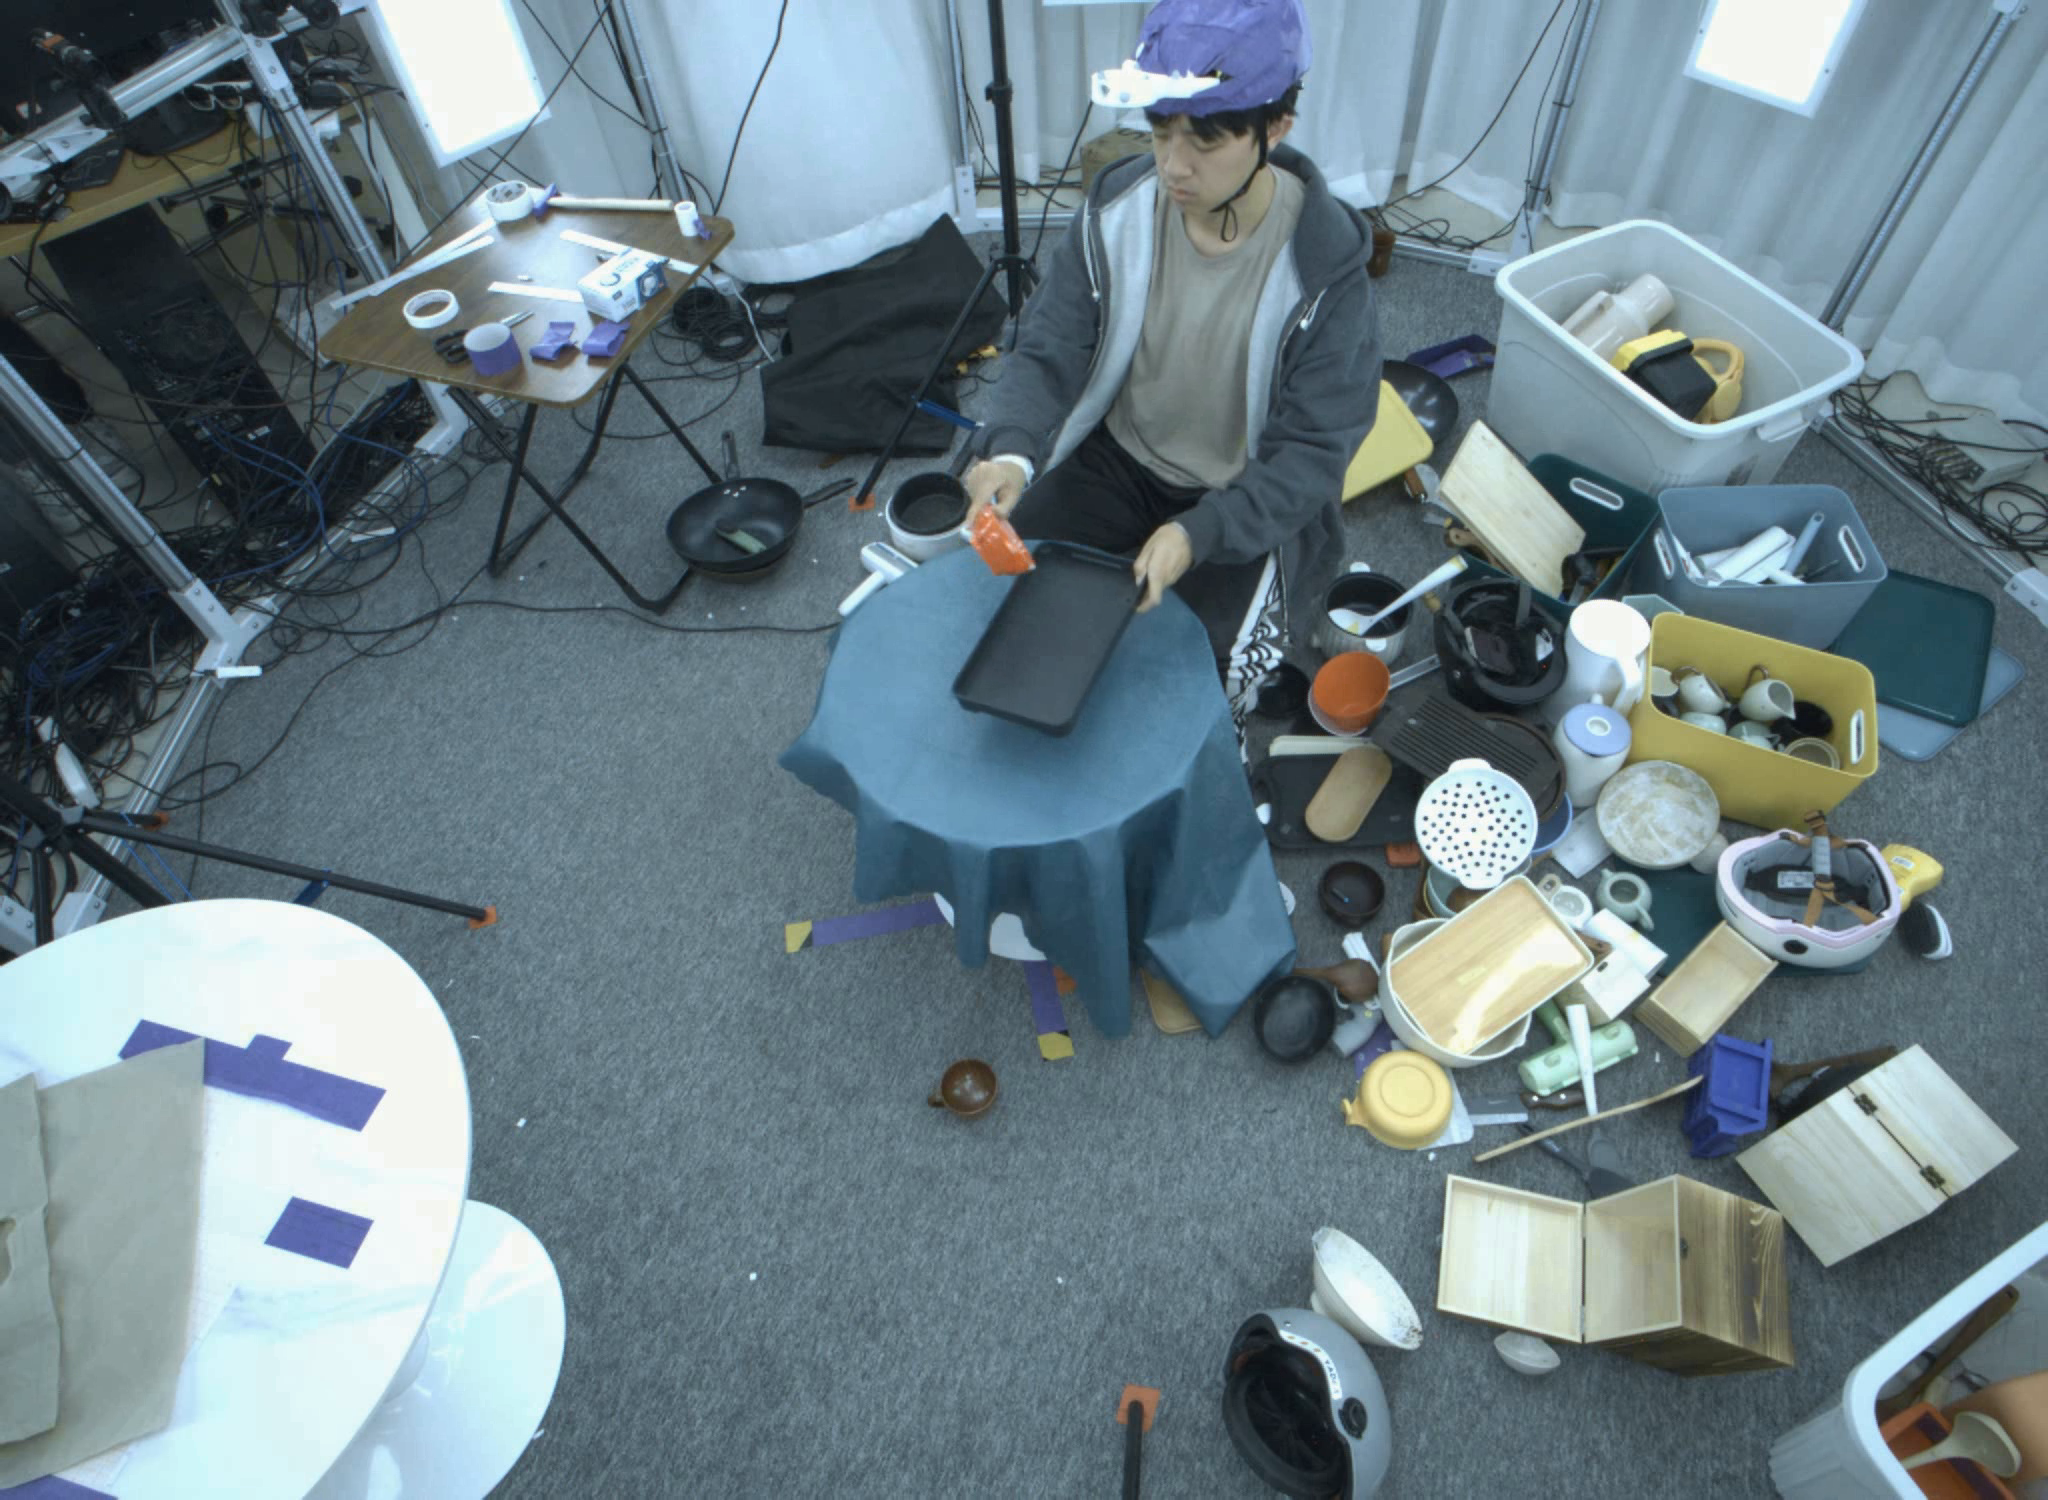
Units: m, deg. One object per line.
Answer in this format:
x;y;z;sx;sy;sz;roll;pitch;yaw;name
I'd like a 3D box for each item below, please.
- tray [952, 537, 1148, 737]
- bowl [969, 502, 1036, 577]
0.042;-0.169;1.773;0.182;0.037;0.318;18;61;18;tray
-0.037;-0.285;1.704;0.051;0.121;0.117;-36;56;13;bowl
